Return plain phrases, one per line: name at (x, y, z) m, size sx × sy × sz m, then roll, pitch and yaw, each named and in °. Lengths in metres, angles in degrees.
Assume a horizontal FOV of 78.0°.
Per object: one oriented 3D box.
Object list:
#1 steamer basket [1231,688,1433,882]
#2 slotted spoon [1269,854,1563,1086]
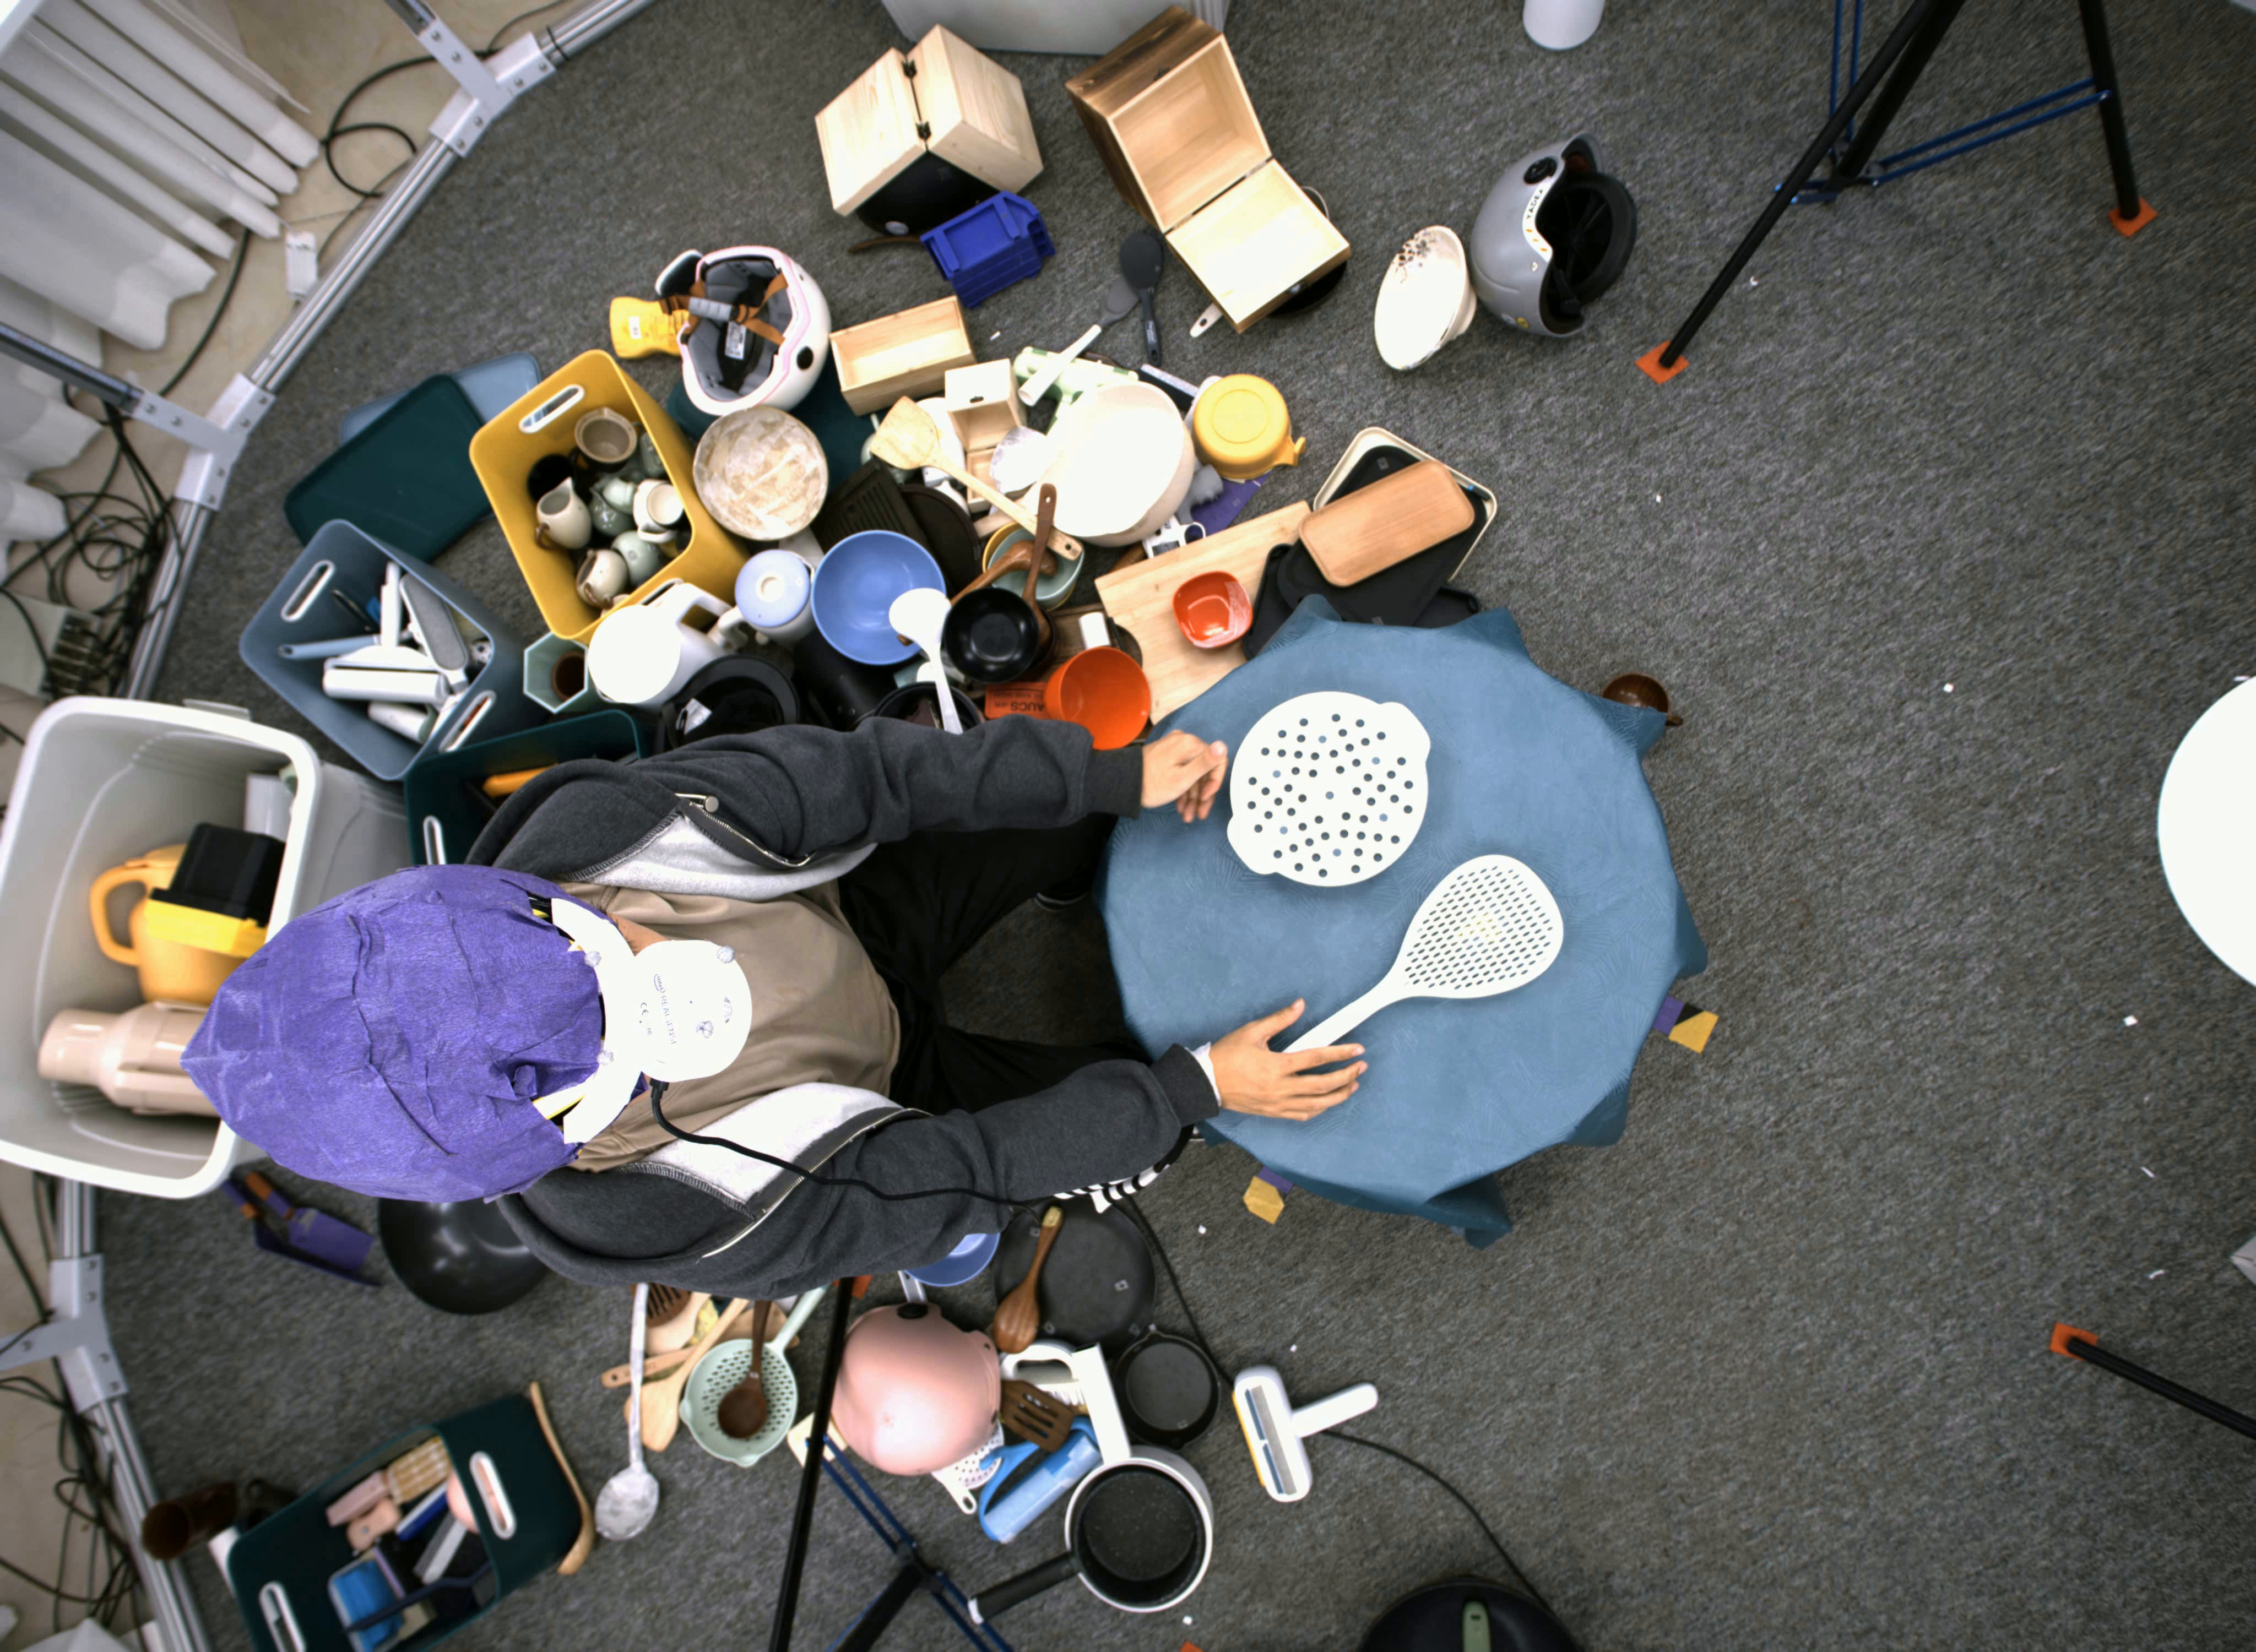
steamer basket at (0.213, -0.041, 1.441) m, size 0.231 × 0.069 × 0.201 m, roll -37°, pitch 81°, yaw 4°
slotted spoon at (0.285, 0.161, 1.431) m, size 0.350 × 0.050 × 0.136 m, roll -36°, pitch 84°, yaw 7°
